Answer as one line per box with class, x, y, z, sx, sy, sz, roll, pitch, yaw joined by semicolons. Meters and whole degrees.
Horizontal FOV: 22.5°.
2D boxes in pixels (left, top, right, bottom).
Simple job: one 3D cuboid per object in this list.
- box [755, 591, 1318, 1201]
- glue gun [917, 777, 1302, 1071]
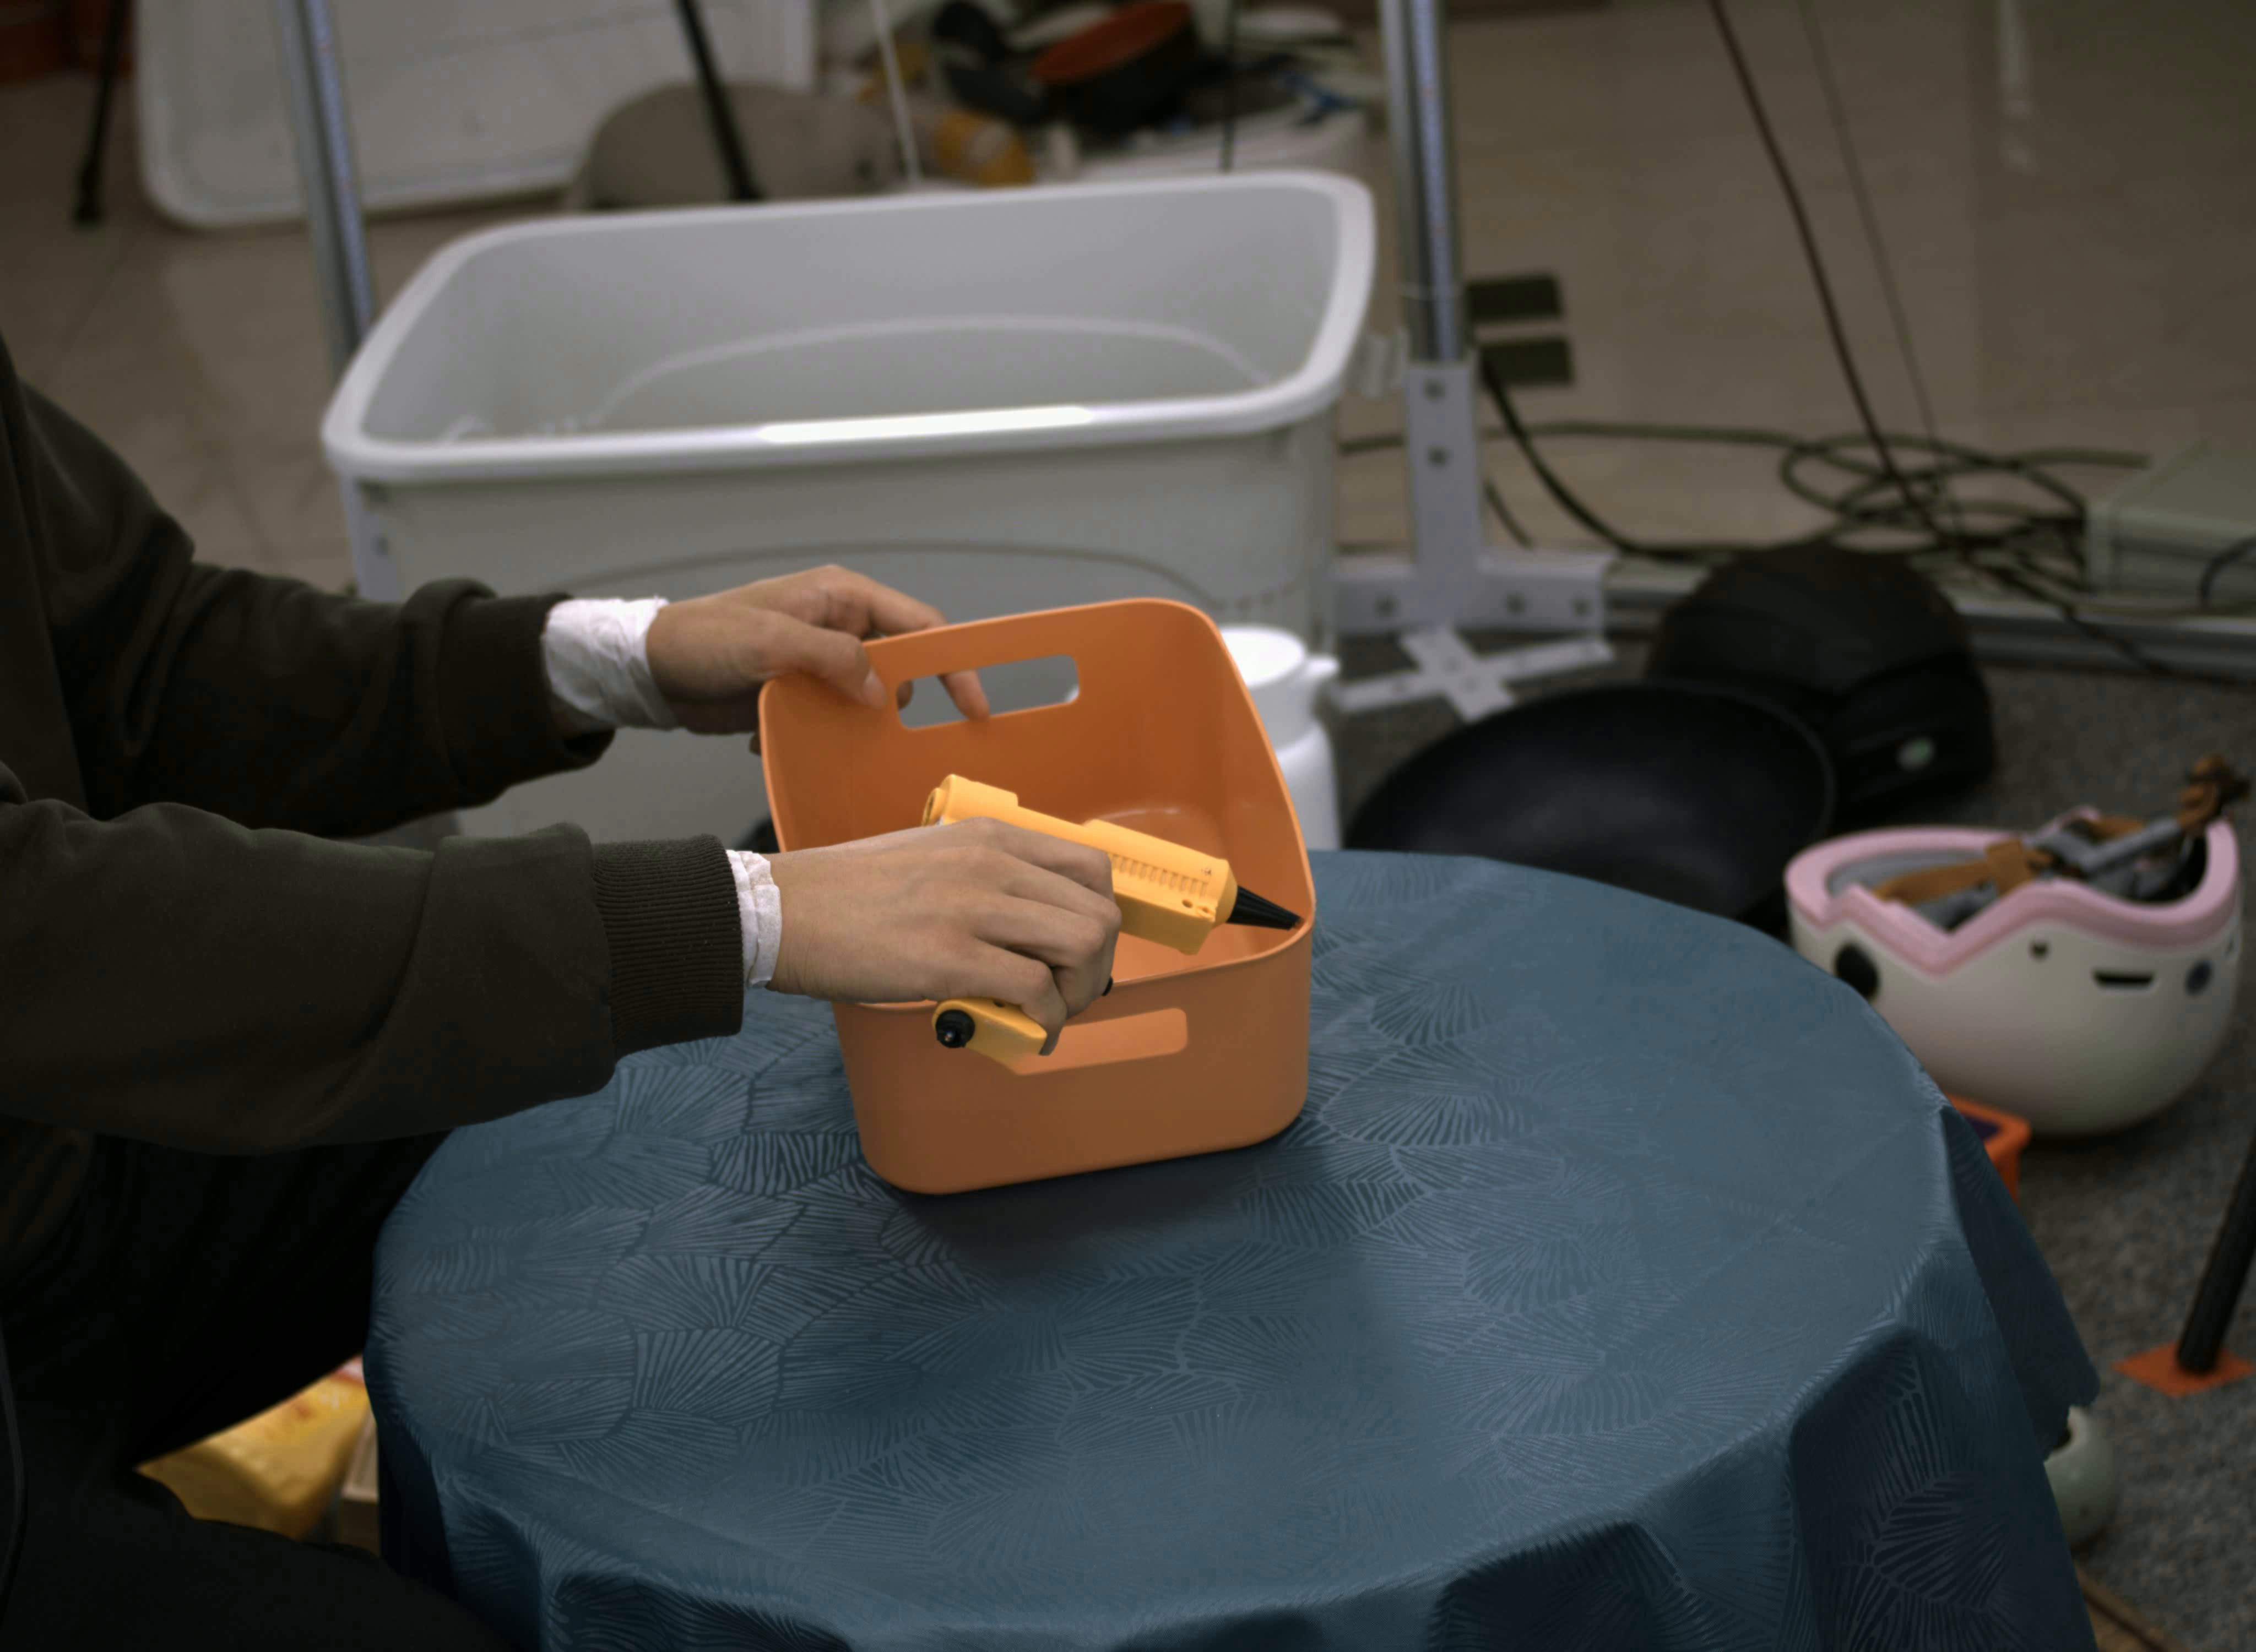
box;-0.036;0.029;2.234;0.199;0.104;0.268;-11;35;-5
glue gun;-0.002;0.047;2.074;0.151;0.031;0.130;14;41;-17
